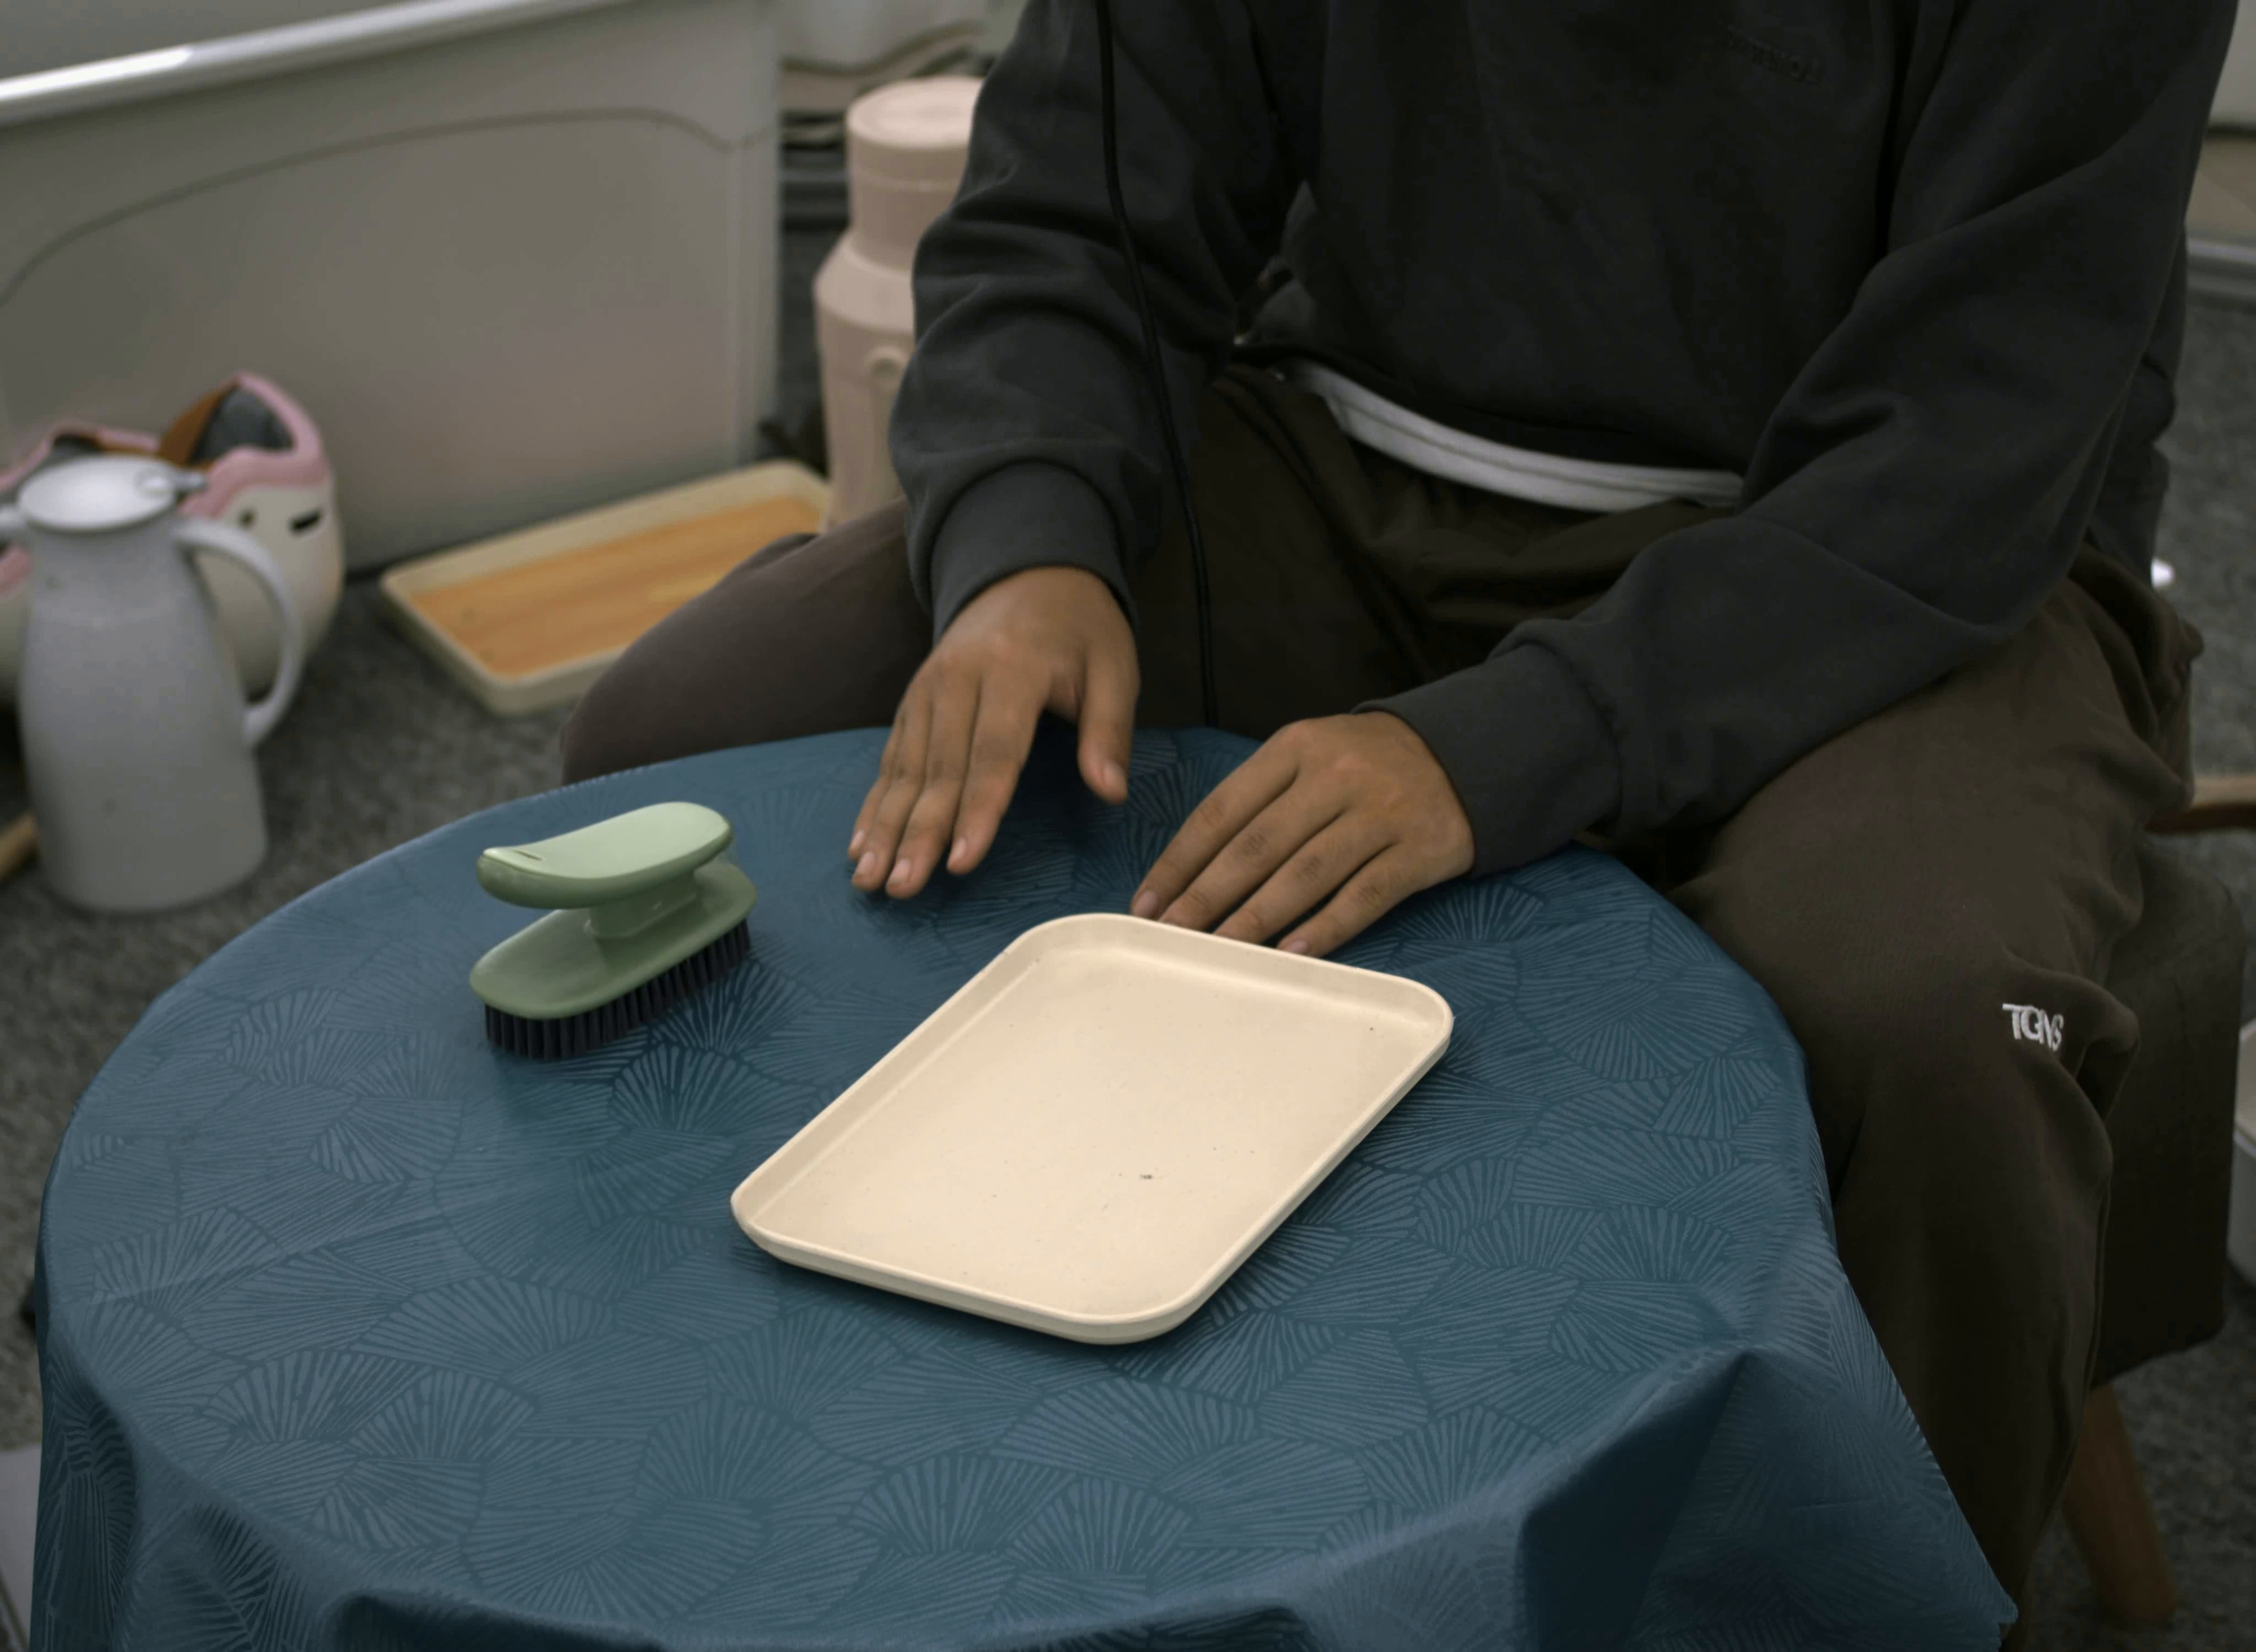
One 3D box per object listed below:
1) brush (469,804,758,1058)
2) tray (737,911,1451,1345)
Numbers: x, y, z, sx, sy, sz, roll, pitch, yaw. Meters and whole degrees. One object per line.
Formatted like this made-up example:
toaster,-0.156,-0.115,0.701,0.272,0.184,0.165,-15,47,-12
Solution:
brush,-0.183,0.036,1.989,0.059,0.075,0.124,18,21,34
tray,-0.009,0.100,1.888,0.170,0.017,0.243,13,31,26
